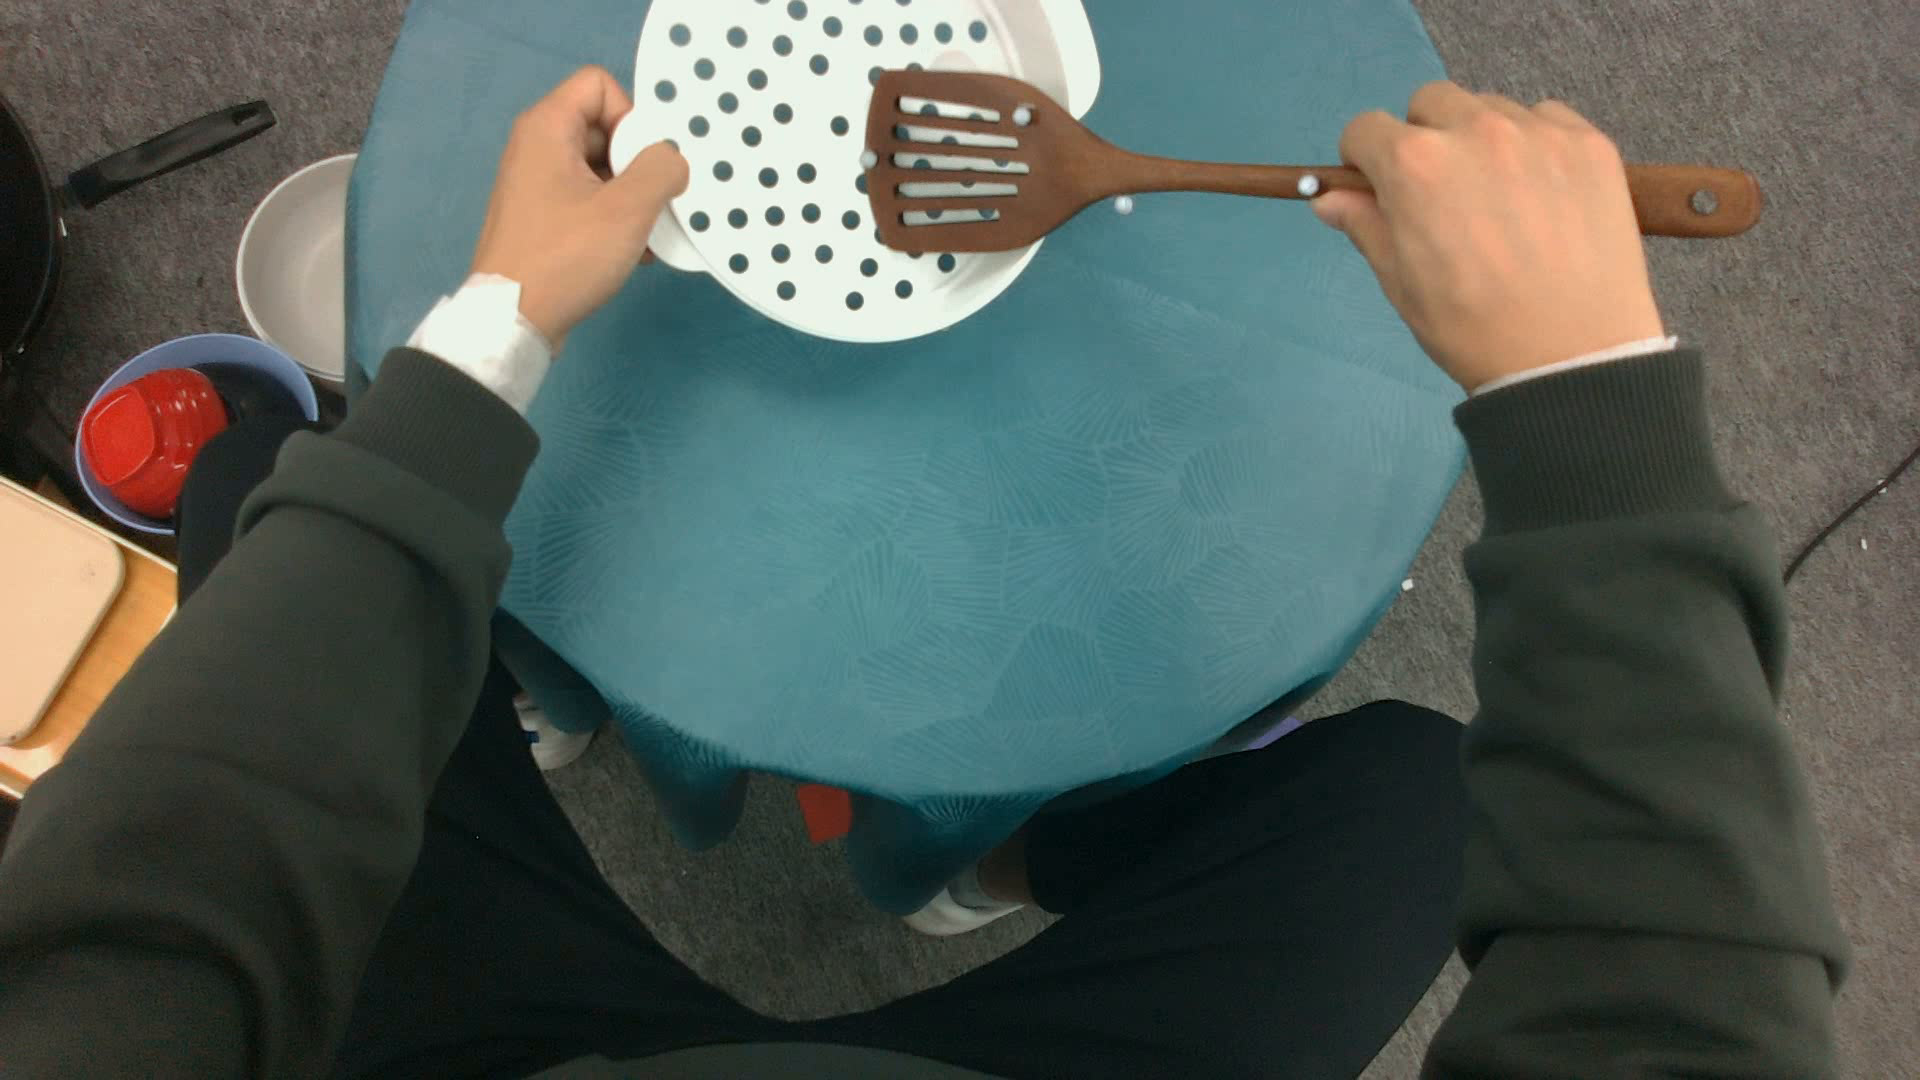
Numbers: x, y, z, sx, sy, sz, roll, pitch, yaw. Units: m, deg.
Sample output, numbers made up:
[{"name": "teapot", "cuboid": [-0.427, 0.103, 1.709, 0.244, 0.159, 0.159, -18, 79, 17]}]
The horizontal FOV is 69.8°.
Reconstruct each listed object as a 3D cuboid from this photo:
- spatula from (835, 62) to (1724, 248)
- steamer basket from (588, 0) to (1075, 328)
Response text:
[{"name": "spatula", "cuboid": [0.102, -0.159, 0.574, 0.384, 0.024, 0.085, 11, 112, 34]}, {"name": "steamer basket", "cuboid": [-0.061, -0.204, 0.653, 0.231, 0.069, 0.201, -25, 107, -7]}]
